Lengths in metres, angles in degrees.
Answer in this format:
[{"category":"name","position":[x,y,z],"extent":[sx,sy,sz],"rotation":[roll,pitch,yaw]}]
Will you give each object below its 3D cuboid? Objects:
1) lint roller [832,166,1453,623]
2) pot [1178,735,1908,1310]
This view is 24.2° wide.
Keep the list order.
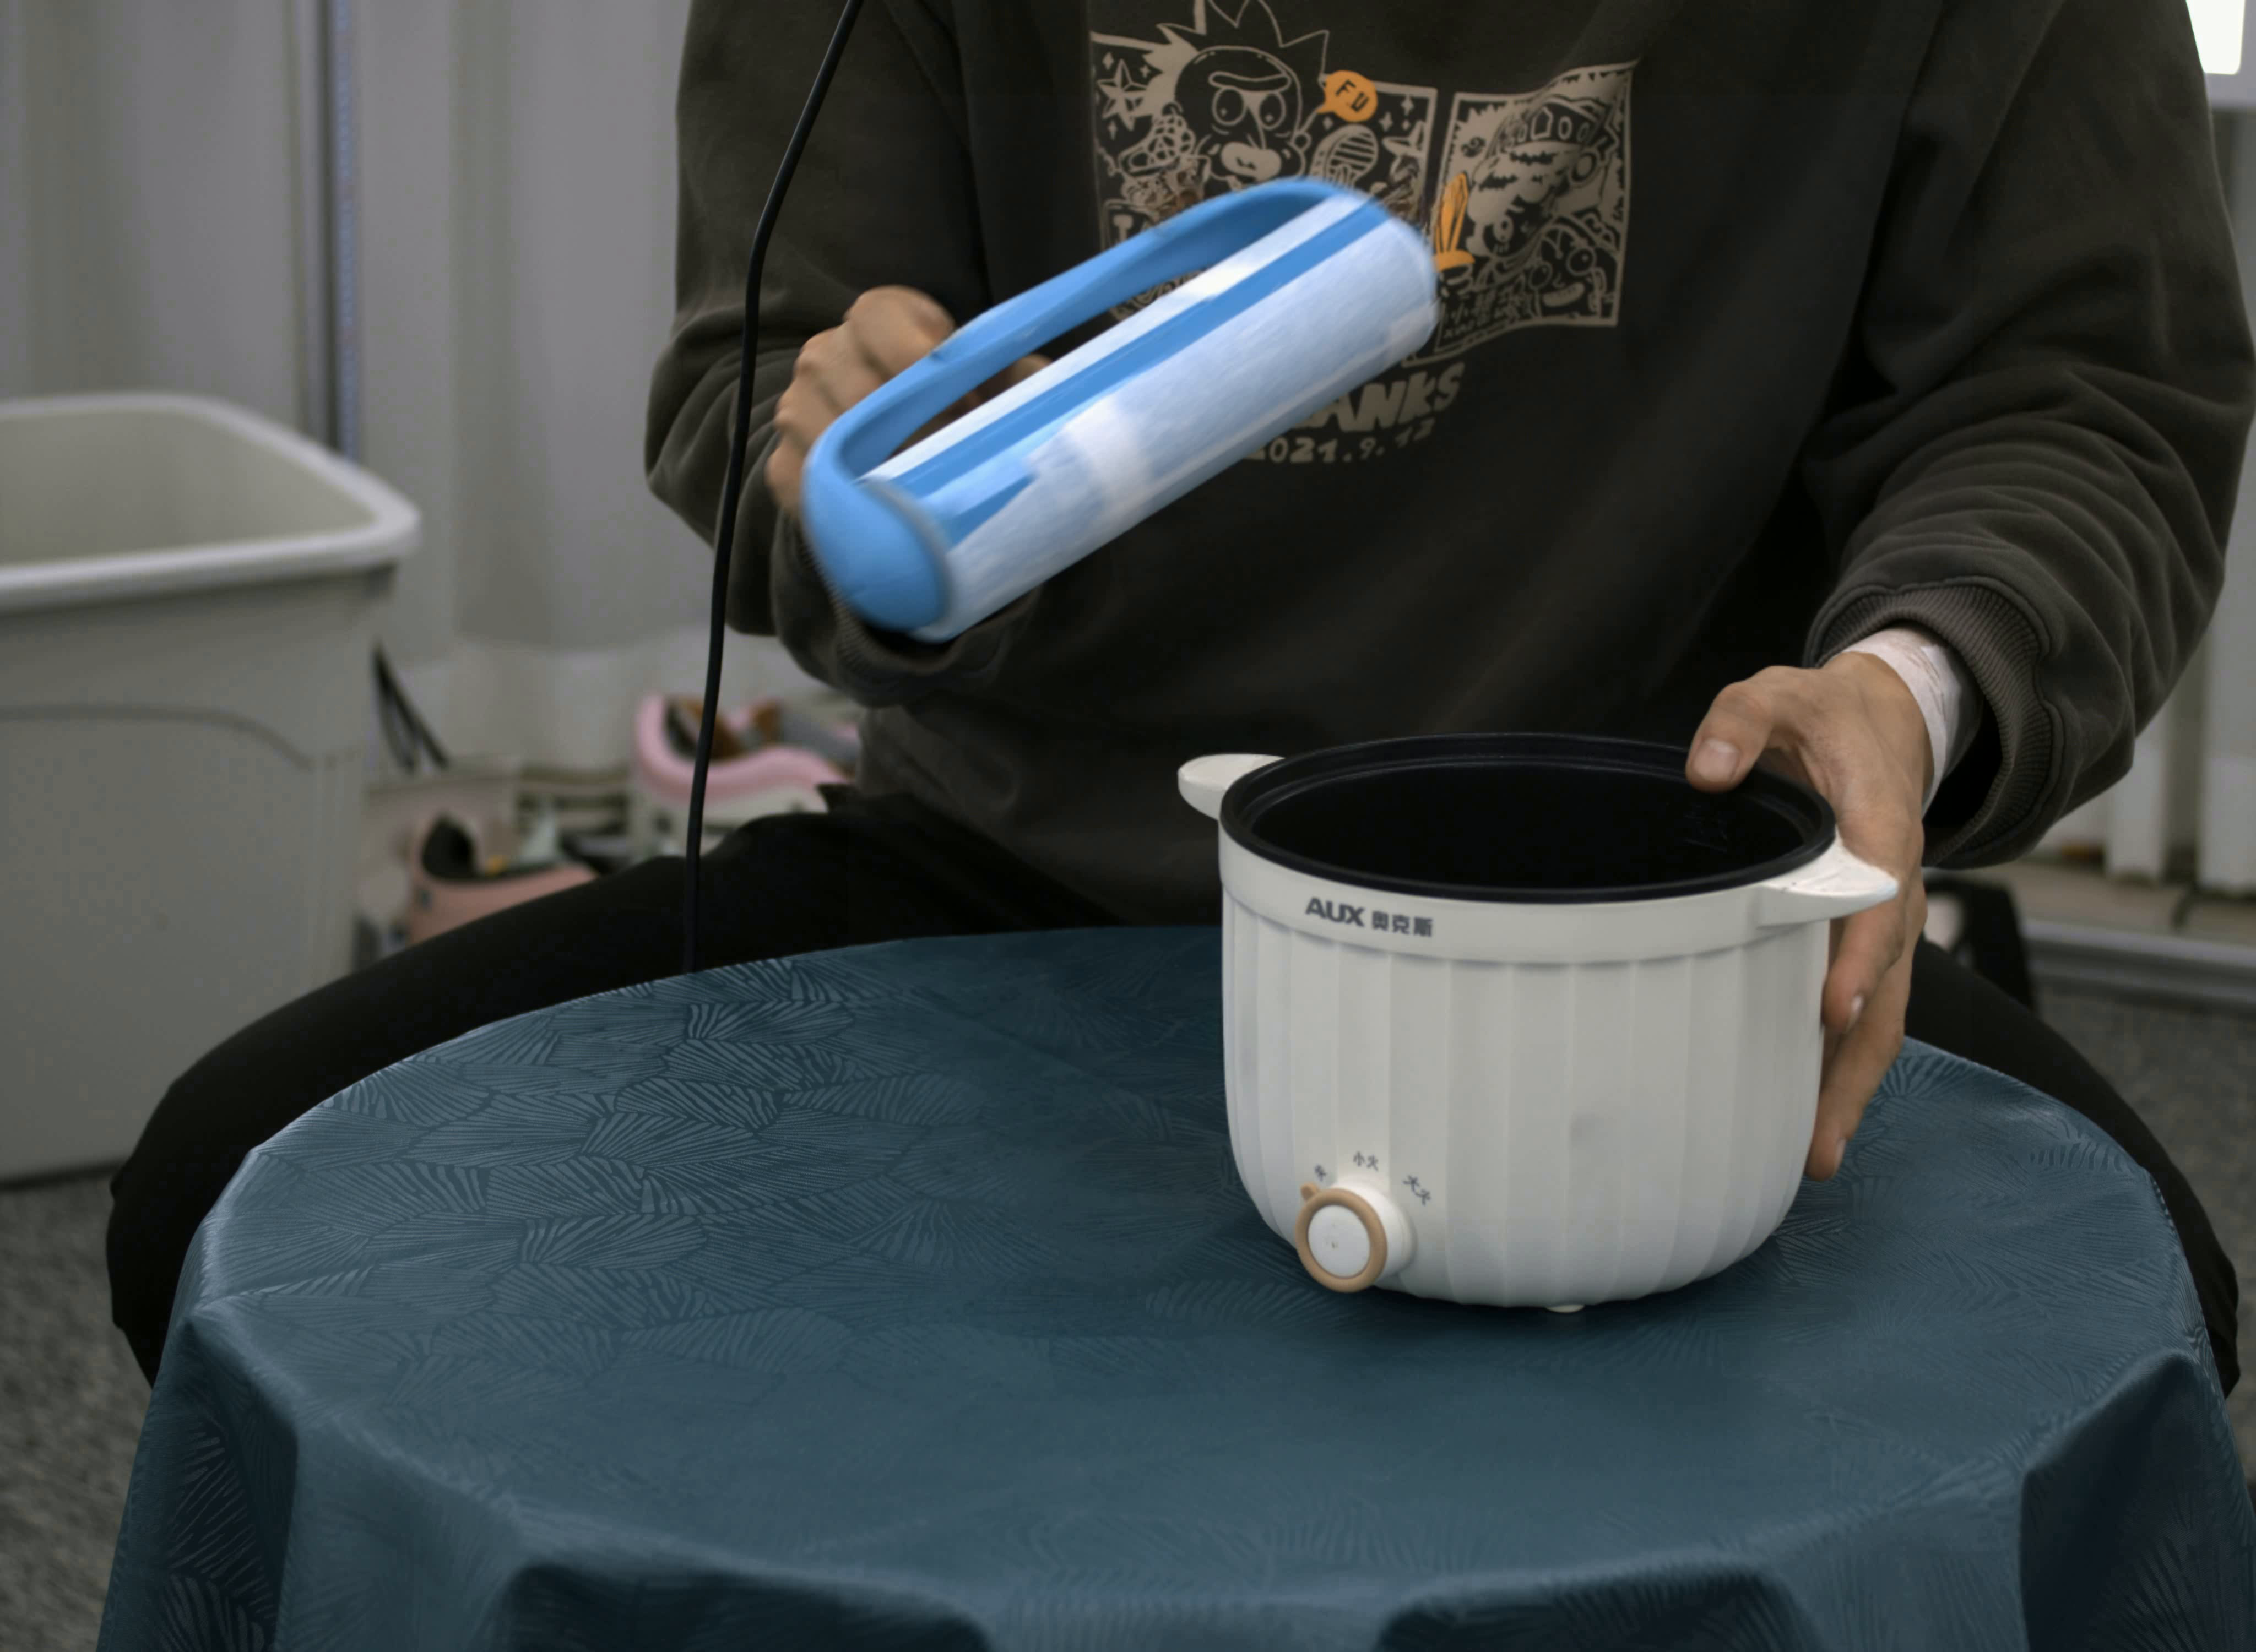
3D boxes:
[{"category":"lint roller","position":[-0.027,-0.131,1.603],"extent":[0.229,0.068,0.178],"rotation":[-36,24,-32]},{"category":"pot","position":[0.115,0.060,1.562],"extent":[0.237,0.143,0.191],"rotation":[9,14,32]}]
